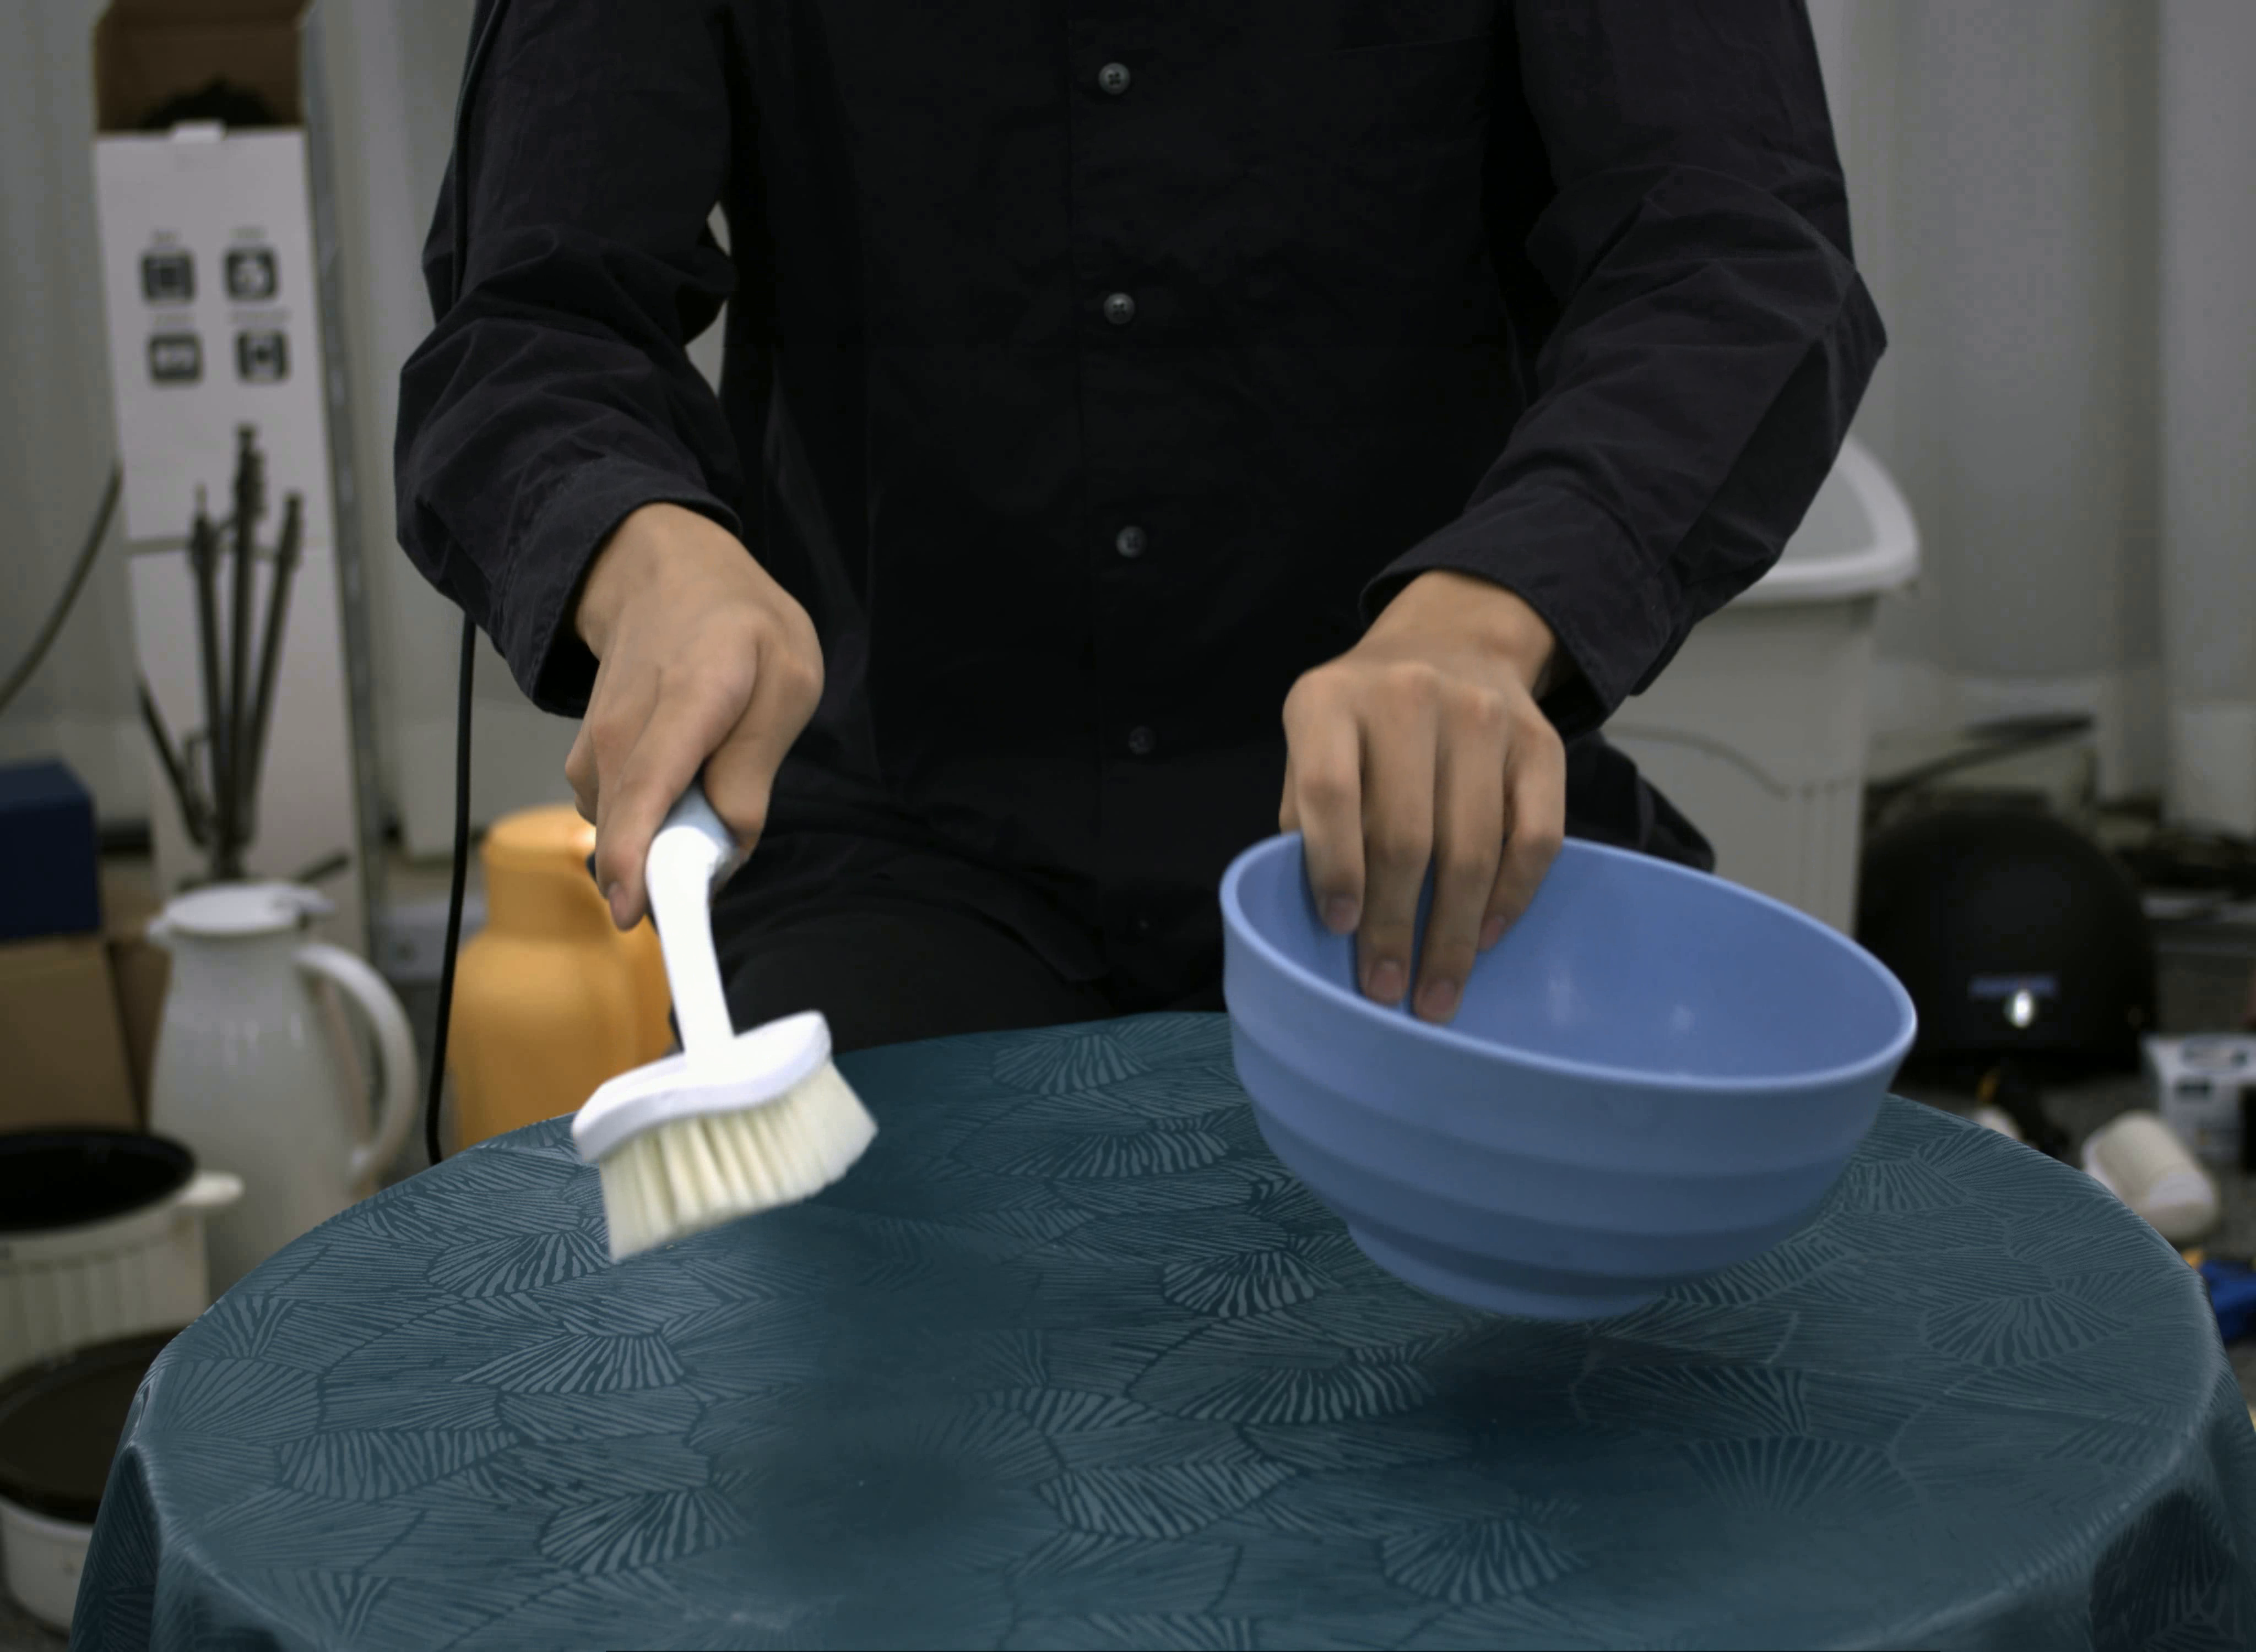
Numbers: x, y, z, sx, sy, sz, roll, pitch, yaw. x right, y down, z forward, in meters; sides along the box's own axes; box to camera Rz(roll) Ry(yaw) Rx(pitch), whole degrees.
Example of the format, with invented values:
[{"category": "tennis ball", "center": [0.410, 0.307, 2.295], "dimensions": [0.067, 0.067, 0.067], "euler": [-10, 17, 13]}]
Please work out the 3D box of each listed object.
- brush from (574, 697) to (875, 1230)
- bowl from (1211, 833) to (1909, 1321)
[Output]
[{"category": "brush", "center": [-0.111, 0.049, 1.581], "dimensions": [0.083, 0.084, 0.328], "euler": [16, 16, -6]}, {"category": "bowl", "center": [0.112, 0.077, 1.529], "dimensions": [0.196, 0.095, 0.198], "euler": [9, 16, -3]}]
